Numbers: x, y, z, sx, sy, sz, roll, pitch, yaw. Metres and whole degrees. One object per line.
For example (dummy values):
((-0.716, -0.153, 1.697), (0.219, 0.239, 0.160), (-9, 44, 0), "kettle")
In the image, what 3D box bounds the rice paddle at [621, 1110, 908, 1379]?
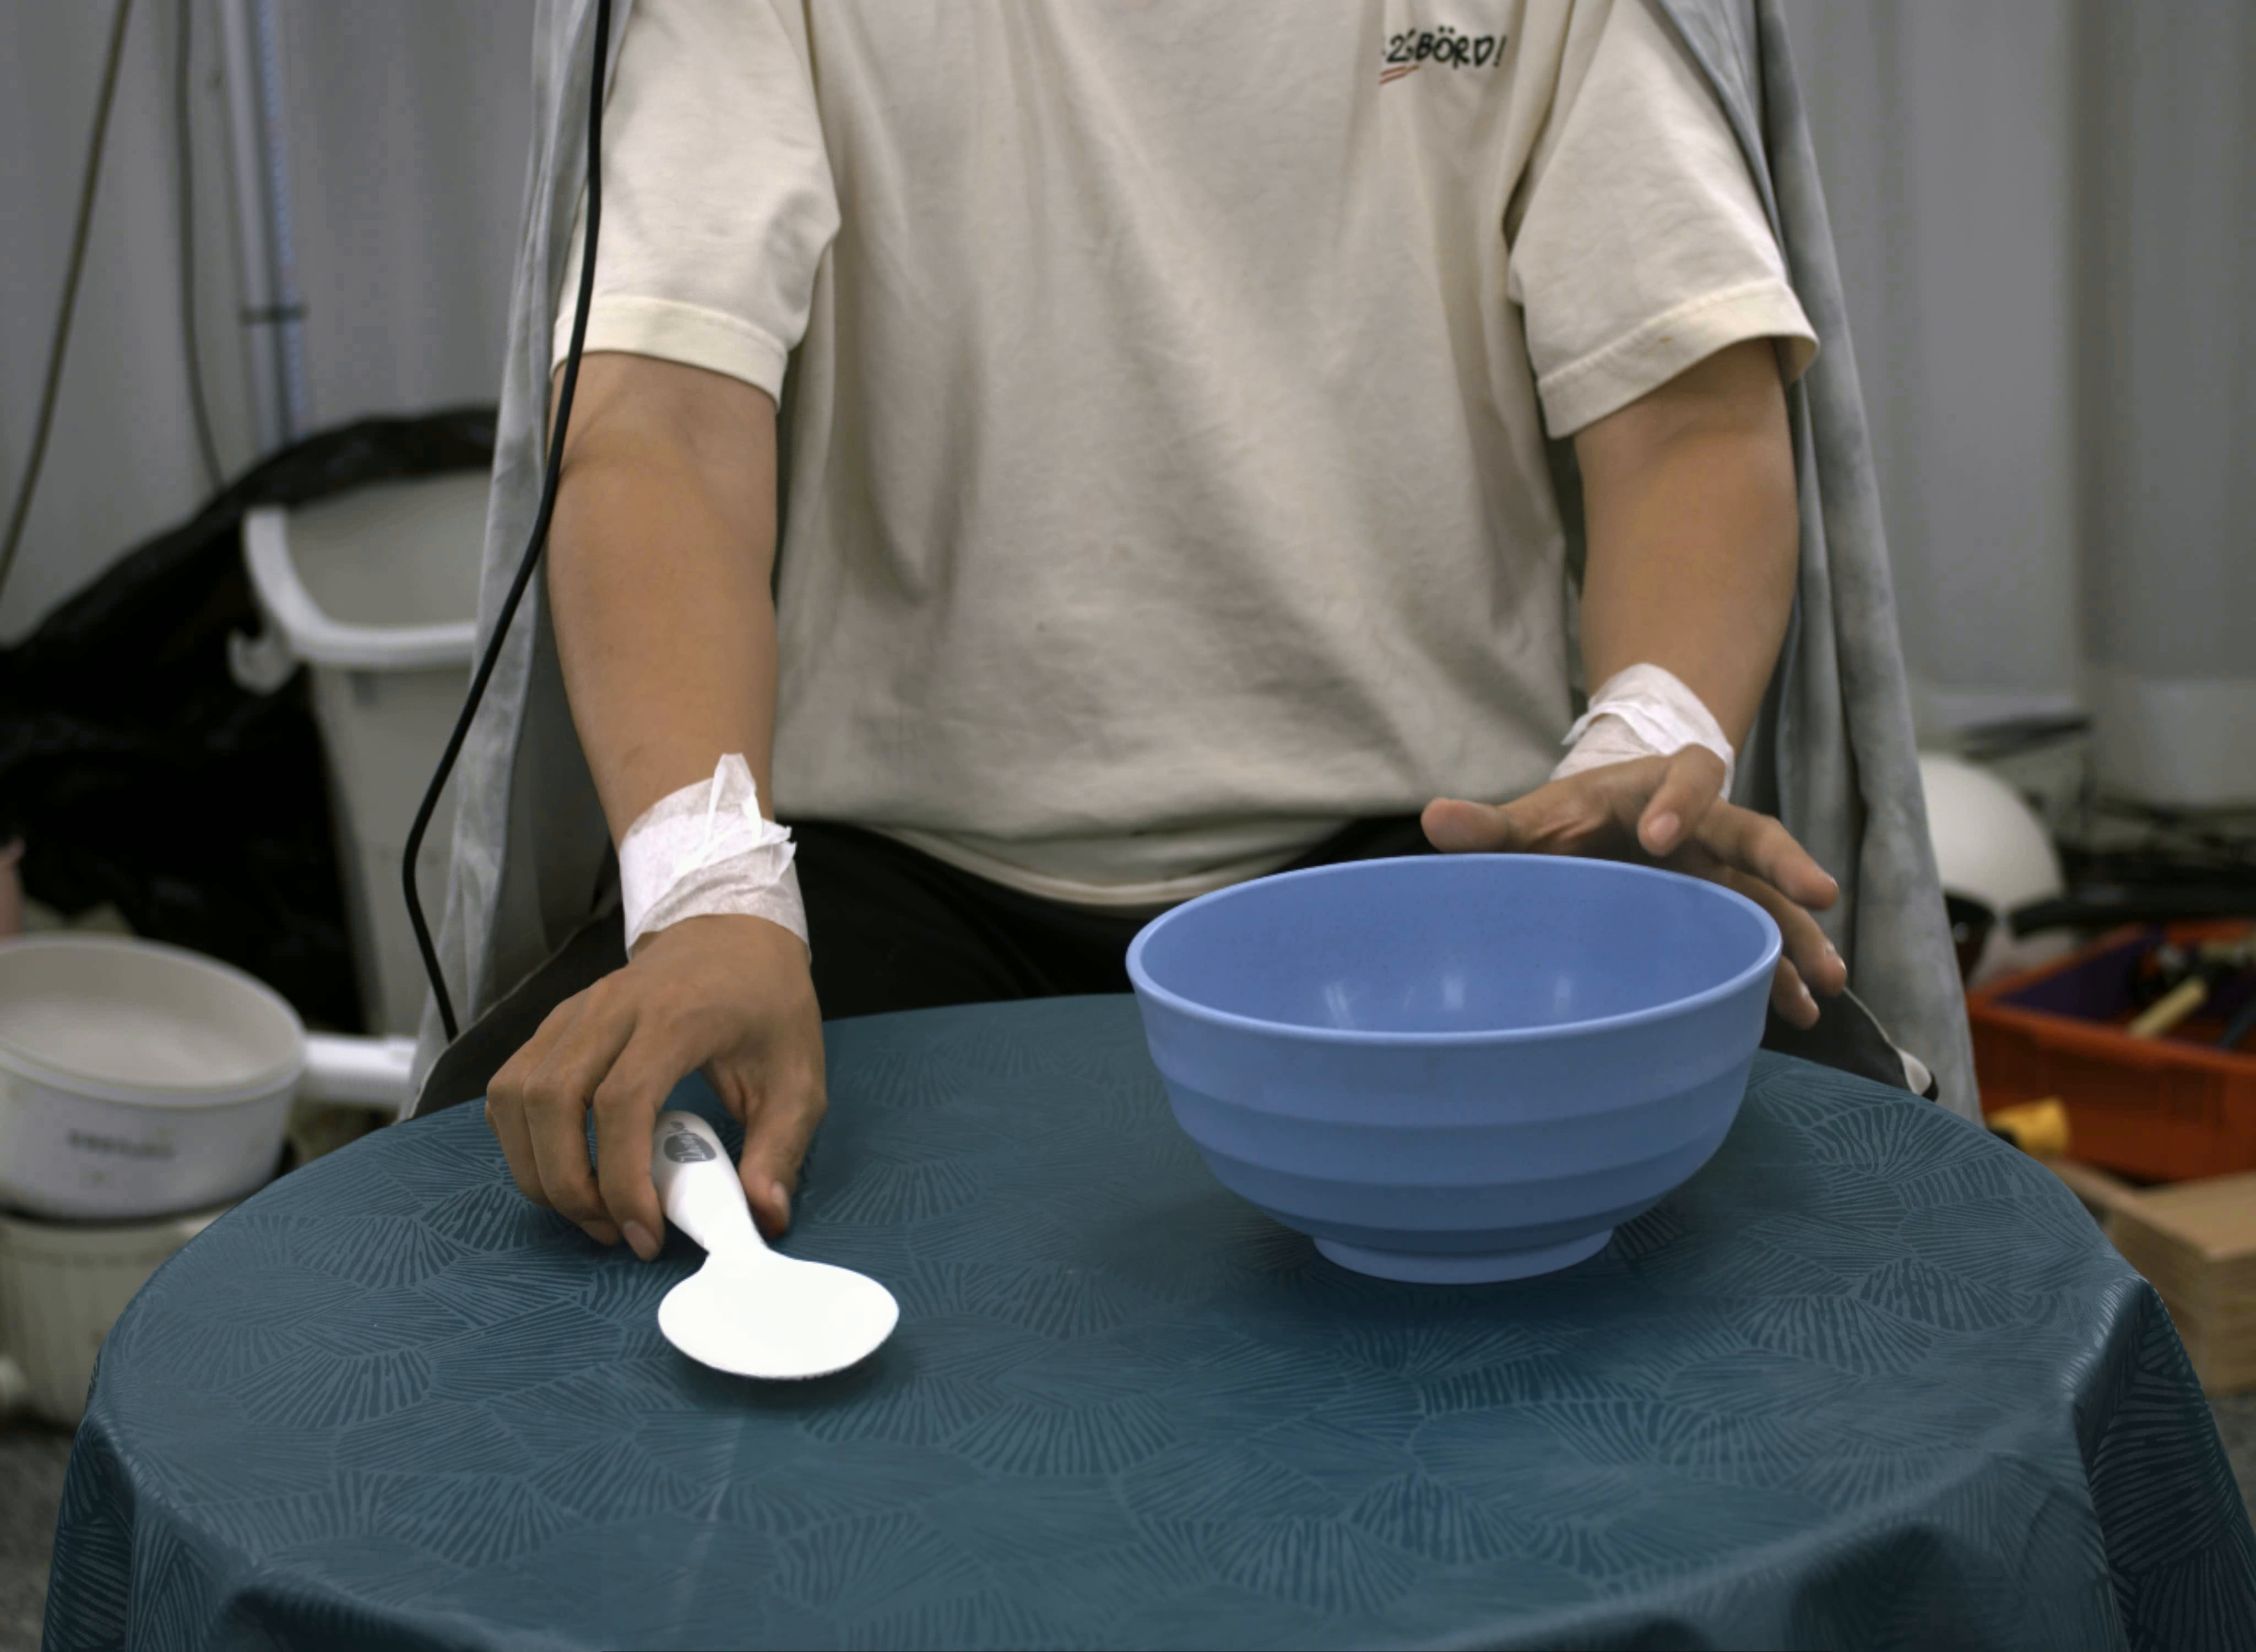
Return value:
((-0.115, 0.127, 1.636), (0.068, 0.029, 0.207), (-8, 16, -15), "rice paddle")

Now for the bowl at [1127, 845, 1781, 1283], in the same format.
((0.099, 0.078, 1.652), (0.196, 0.095, 0.198), (-3, 16, 1), "bowl")
